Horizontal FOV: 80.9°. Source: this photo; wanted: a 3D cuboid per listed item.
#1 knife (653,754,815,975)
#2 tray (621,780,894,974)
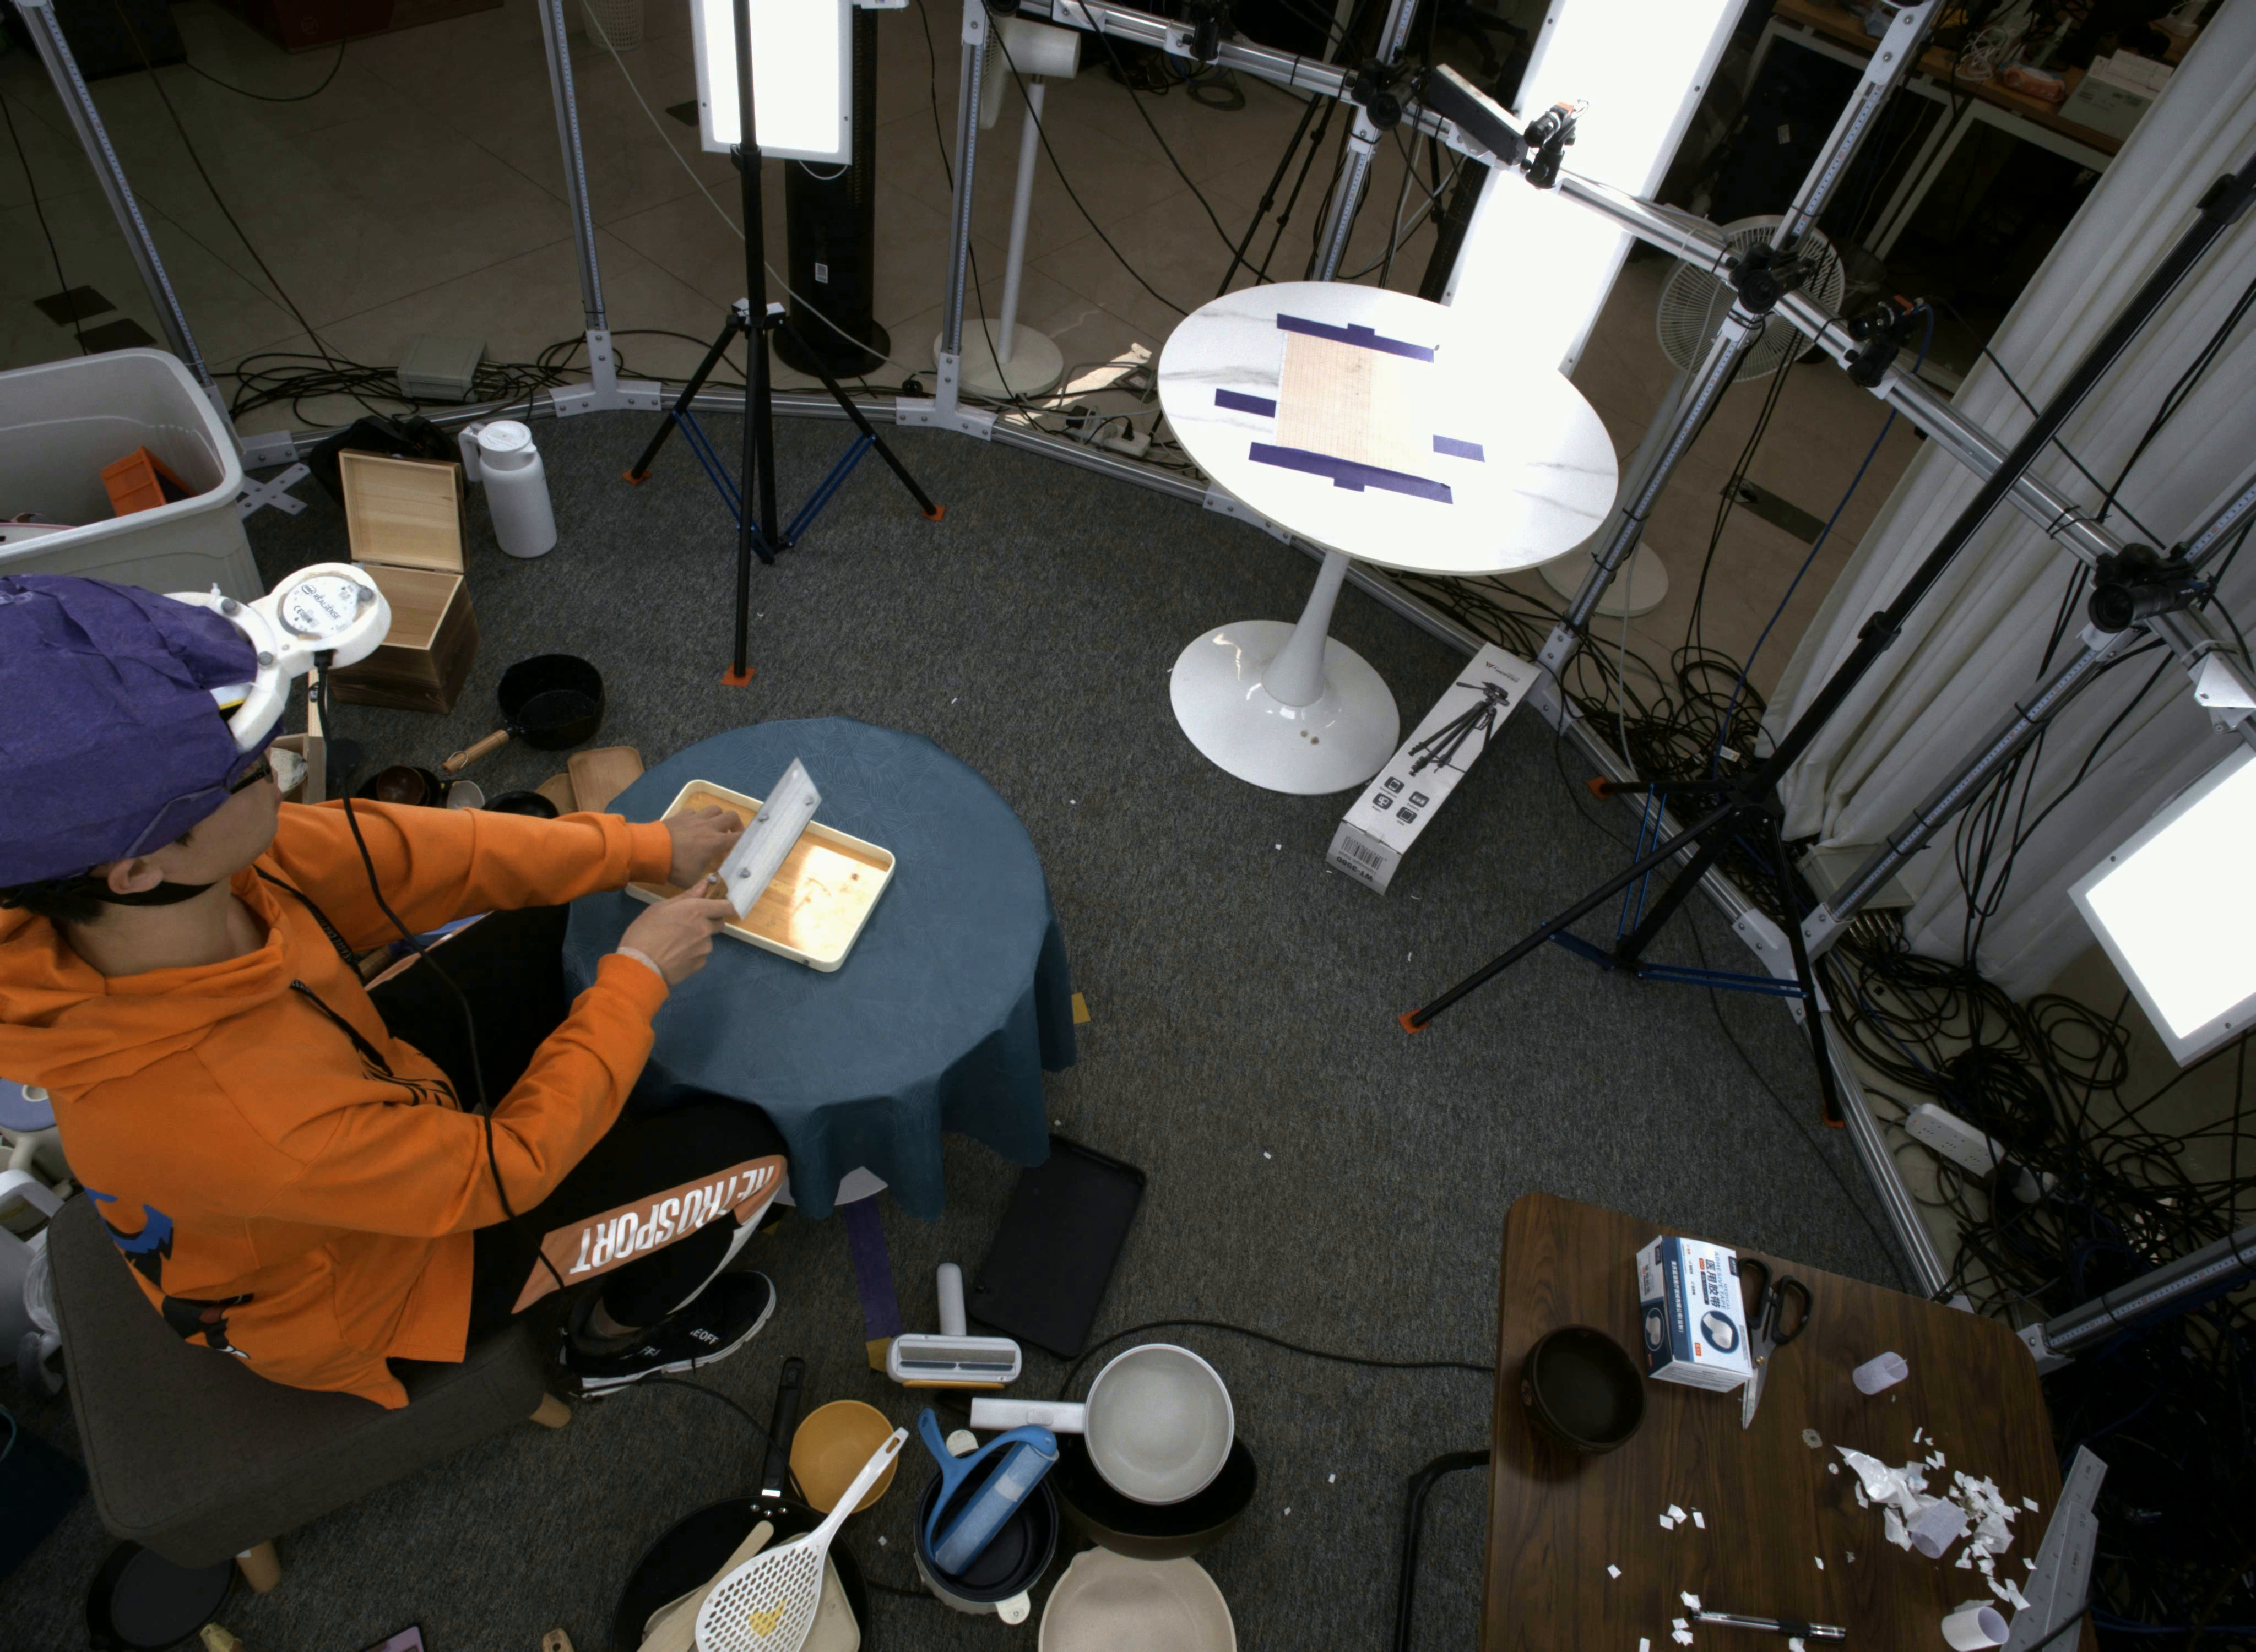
[{"bbox_3d":[-0.451,0.053,1.511,0.020,0.096,0.304,14,58,21],"label":"knife"},{"bbox_3d":[-0.466,0.060,1.640,0.297,0.028,0.189,21,51,1],"label":"tray"}]
